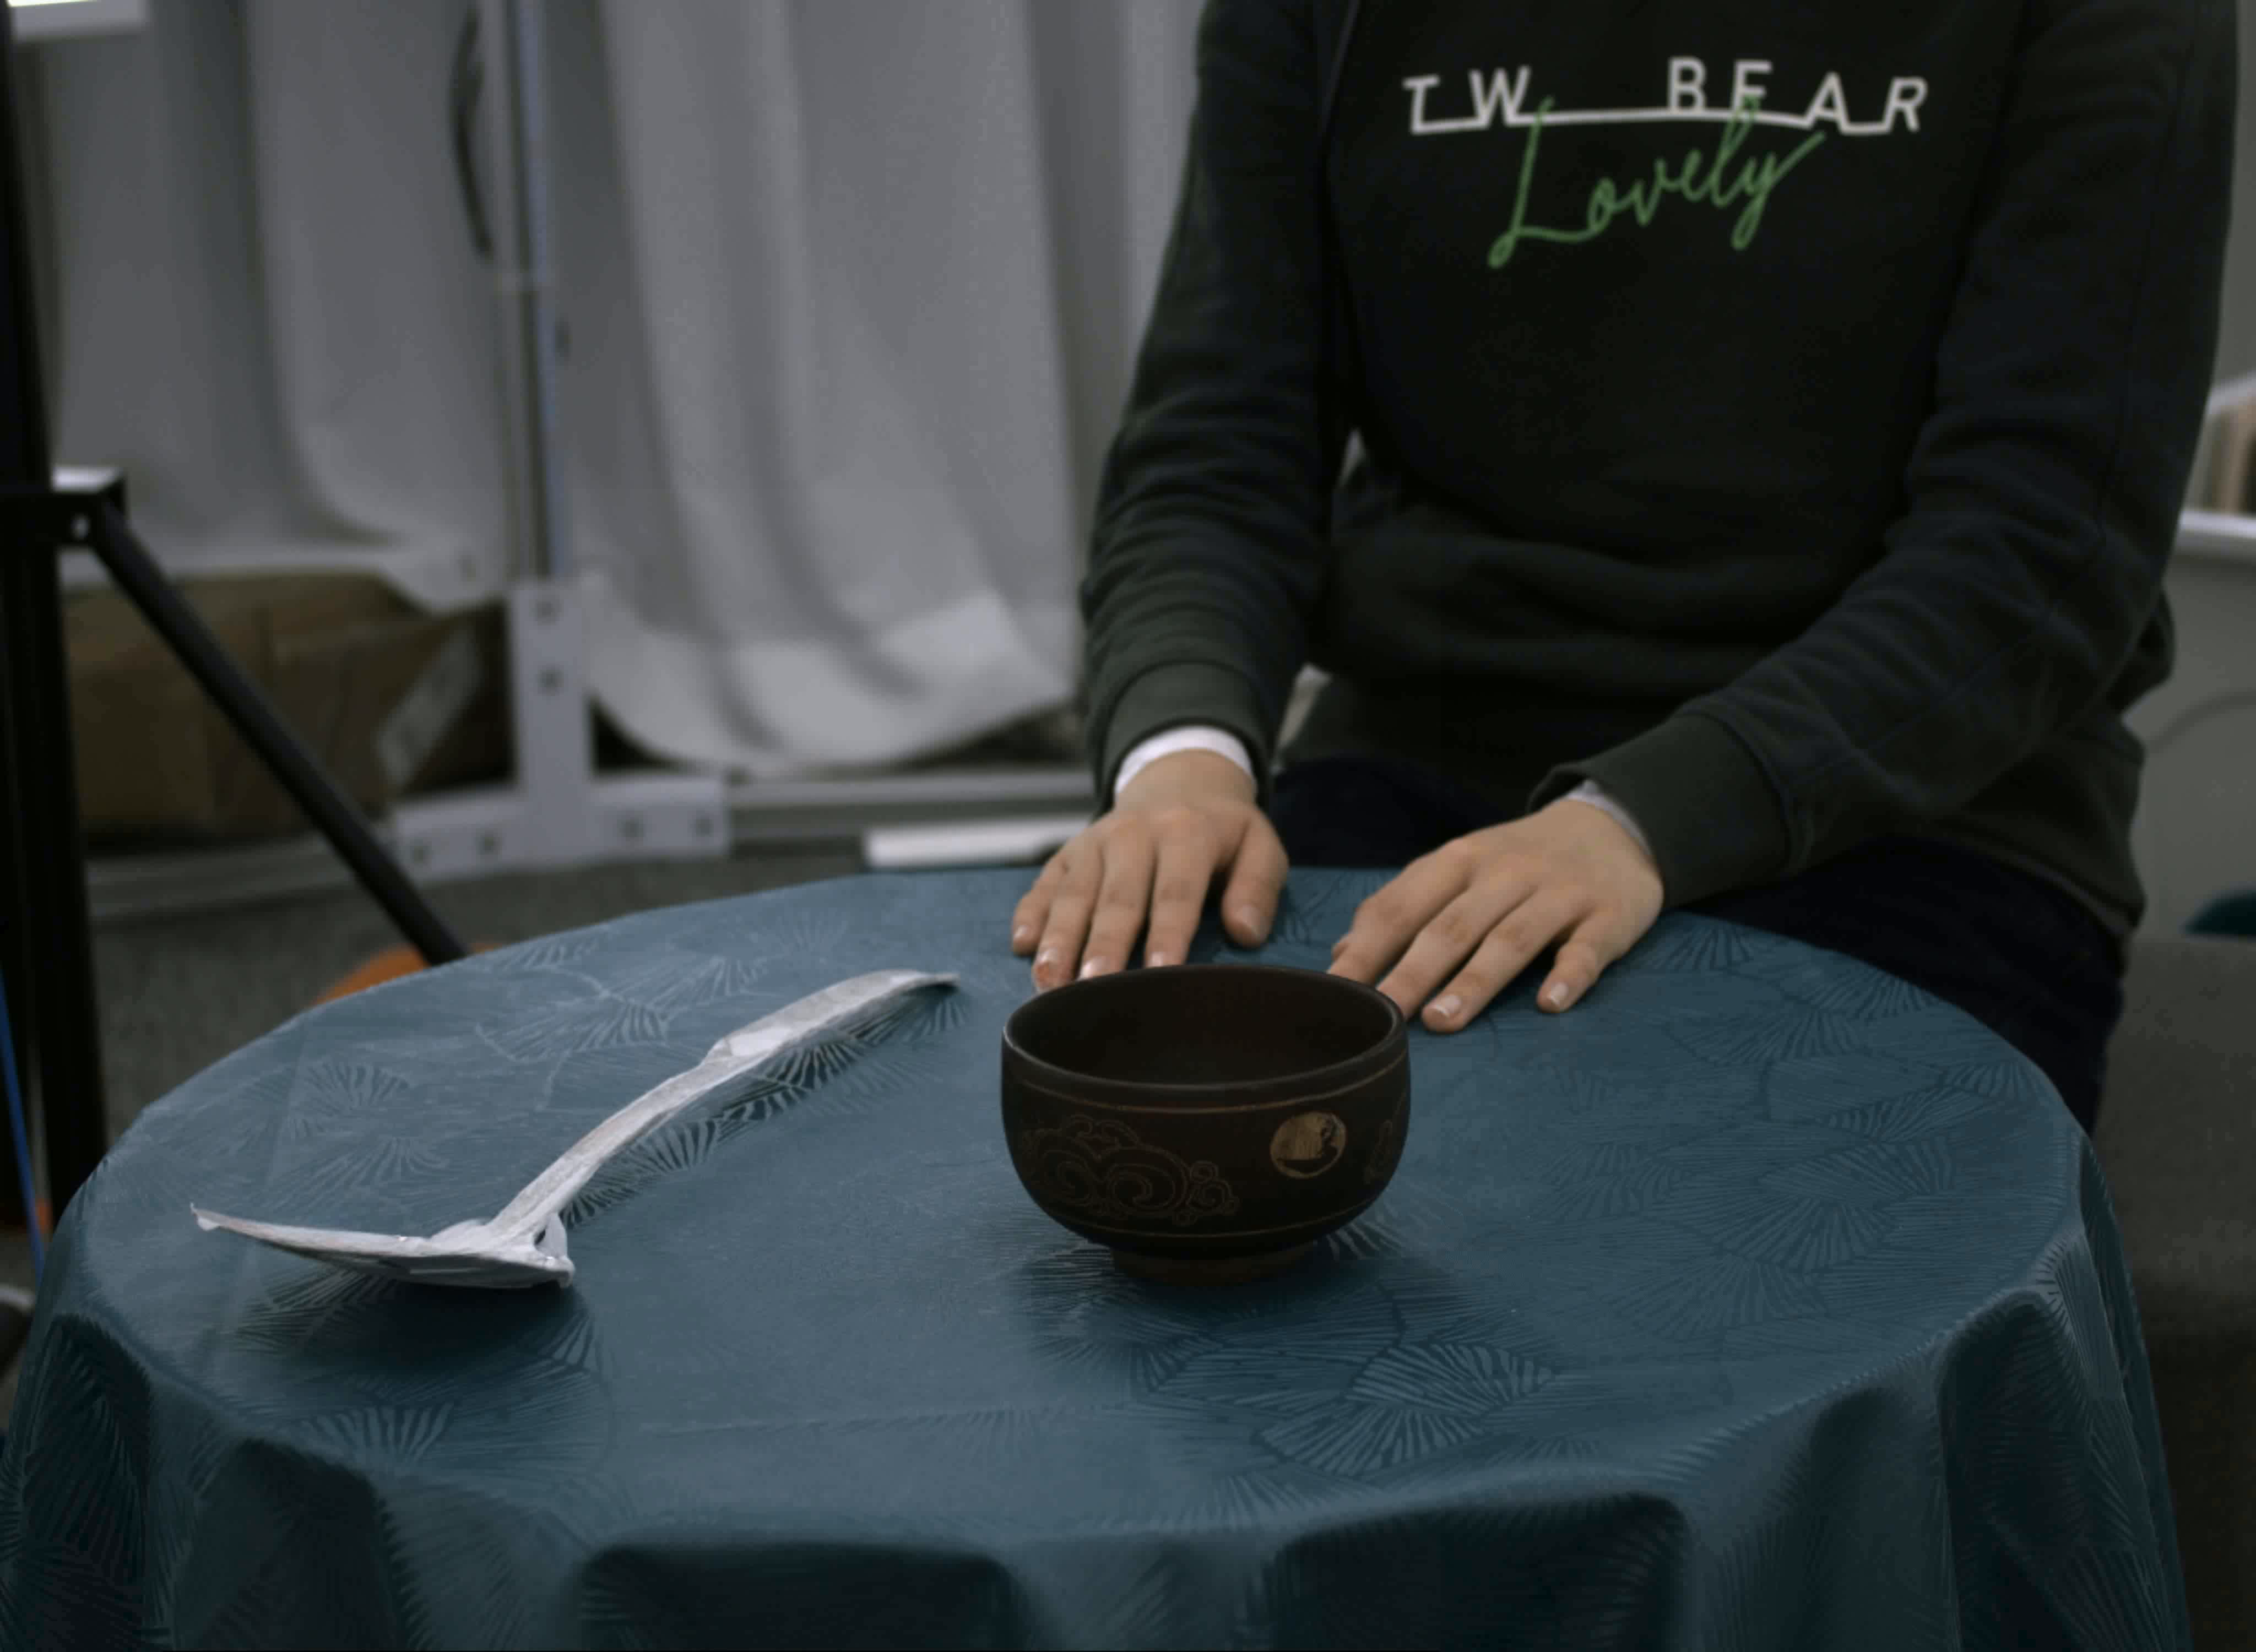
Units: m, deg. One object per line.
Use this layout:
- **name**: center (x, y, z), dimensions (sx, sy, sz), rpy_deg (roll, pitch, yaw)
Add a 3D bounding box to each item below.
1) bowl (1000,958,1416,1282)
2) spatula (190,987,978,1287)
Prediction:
- **bowl**: center (0.023, 0.087, 1.498), dimensions (0.117, 0.070, 0.118), rpy_deg (-1, 16, -1)
- **spatula**: center (-0.141, 0.083, 1.598), dimensions (0.100, 0.045, 0.359), rpy_deg (4, 17, 27)
